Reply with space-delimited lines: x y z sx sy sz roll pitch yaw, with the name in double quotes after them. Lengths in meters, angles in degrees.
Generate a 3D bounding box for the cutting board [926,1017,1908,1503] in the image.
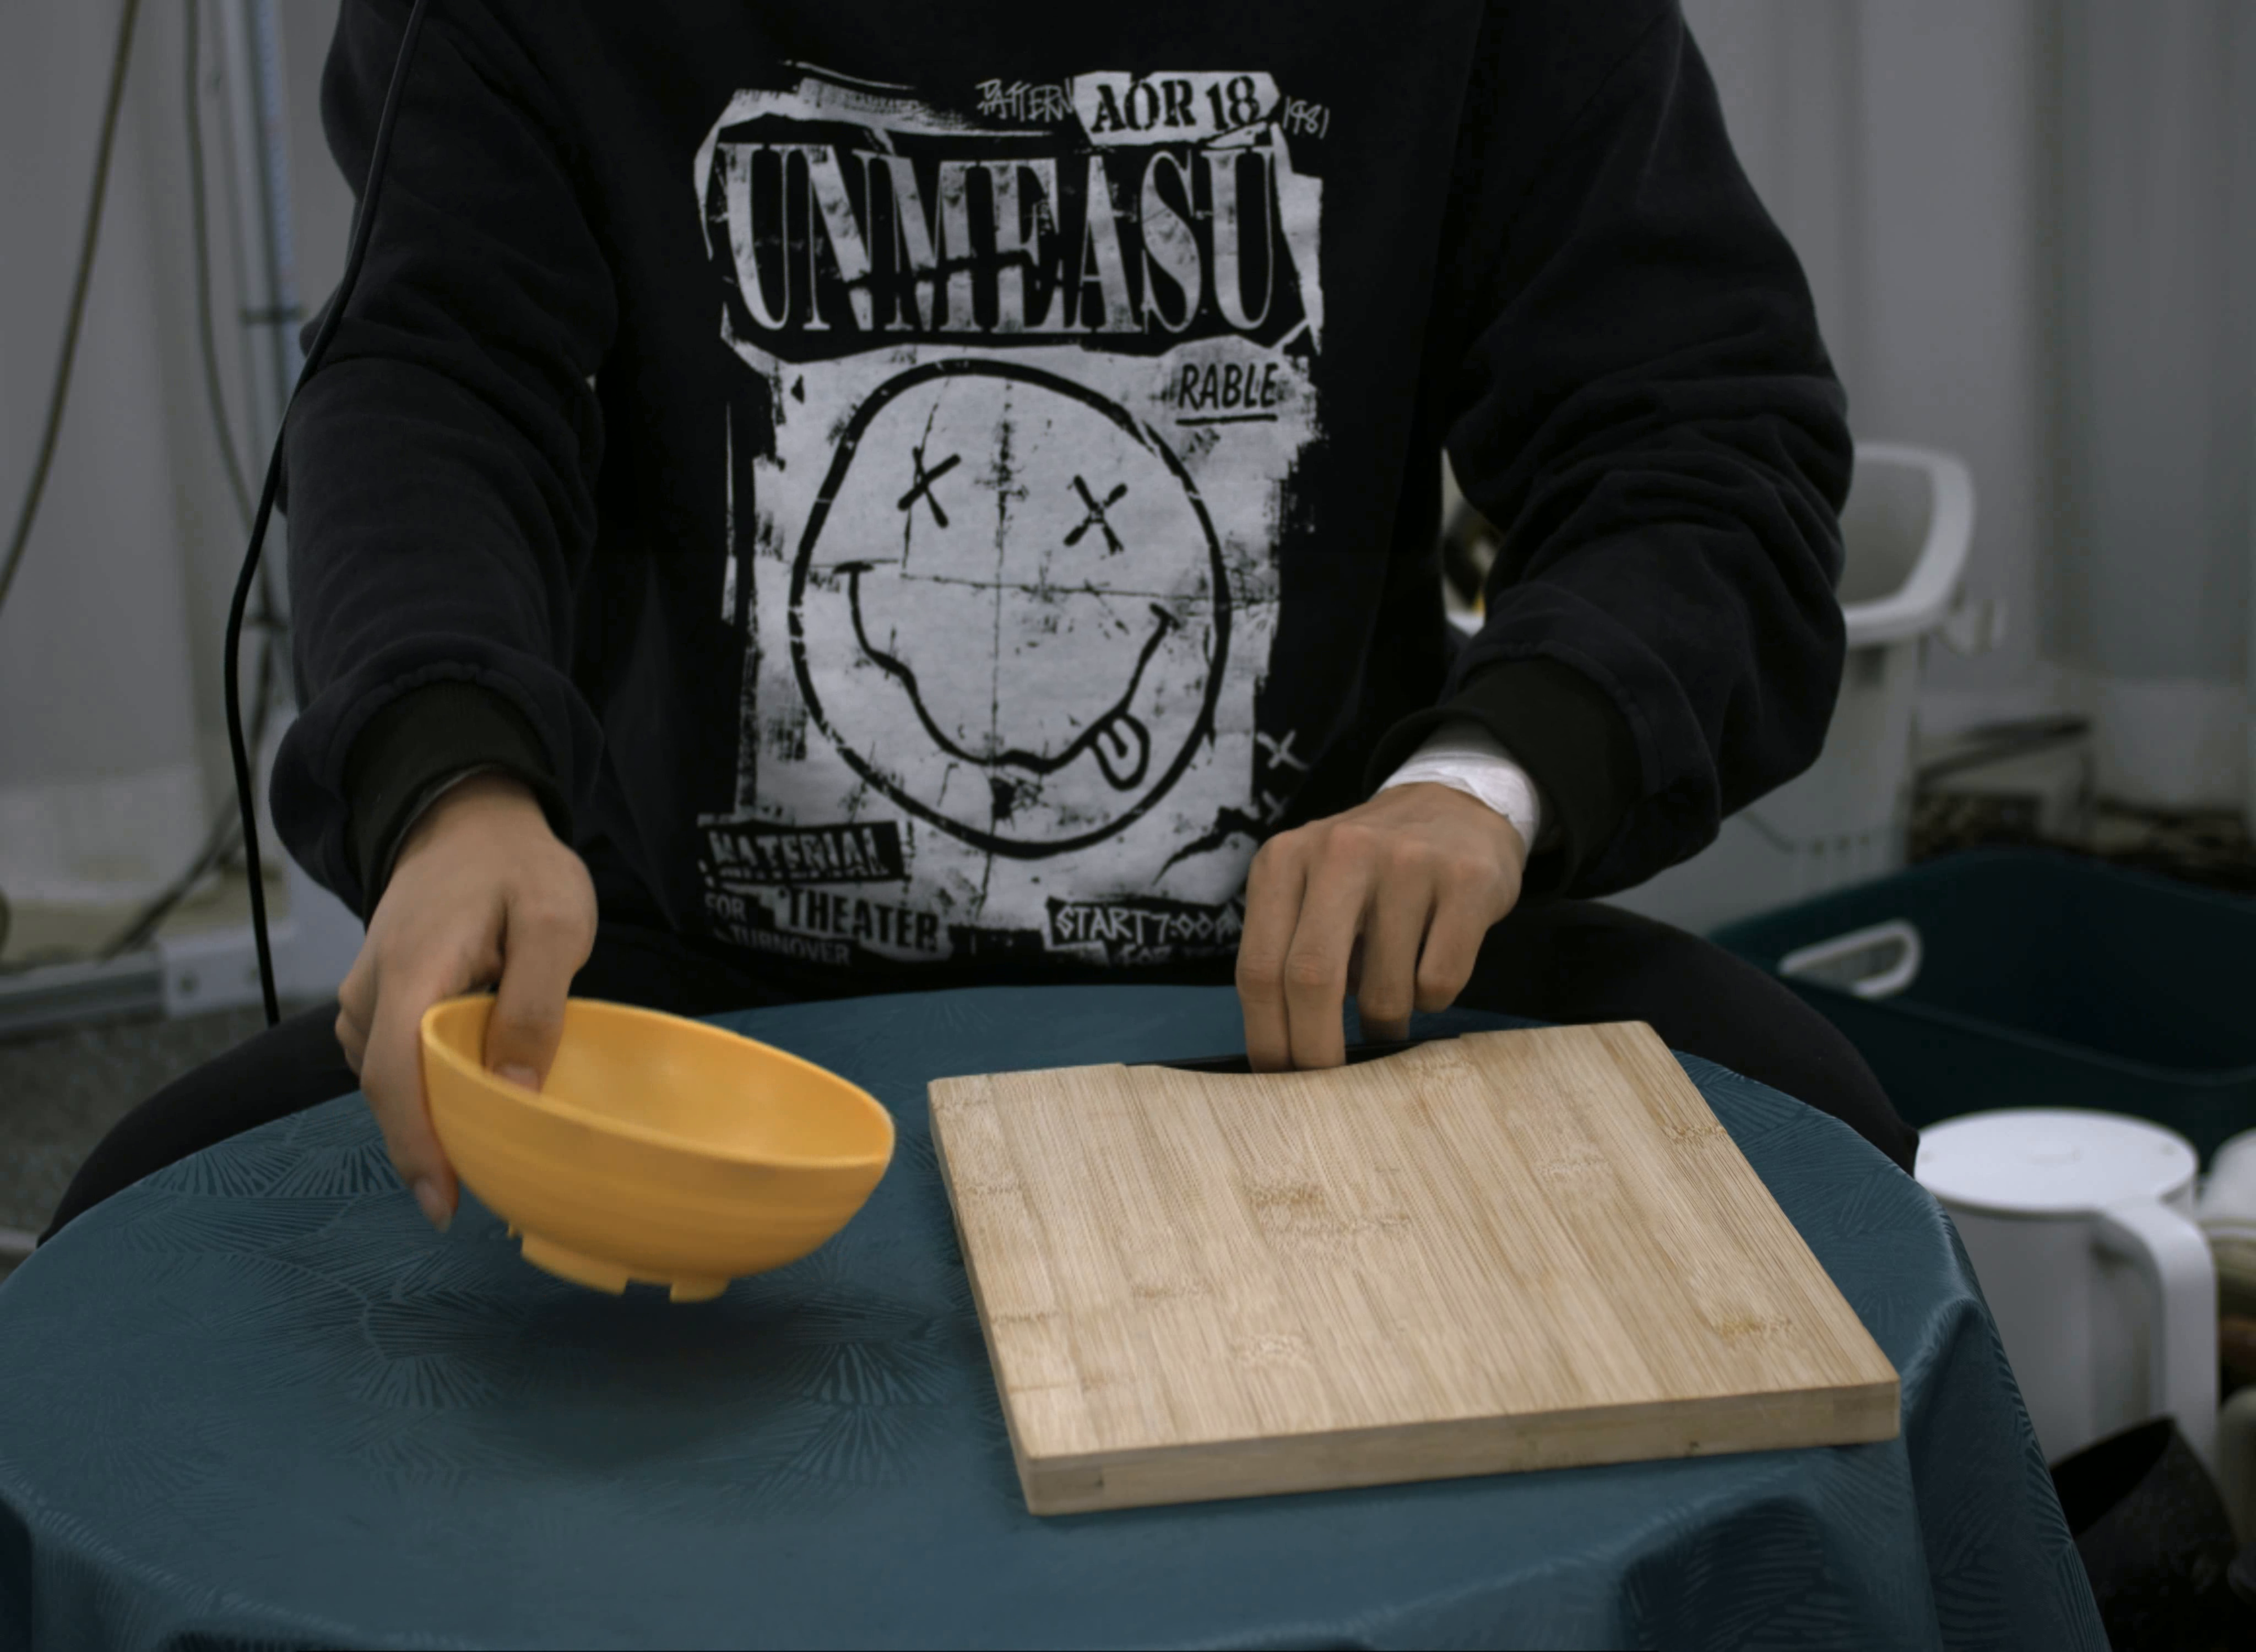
0.073 0.124 1.634 0.250 0.023 0.351 -4 15 -7 "cutting board"

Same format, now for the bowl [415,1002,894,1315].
-0.145 0.104 1.598 0.145 0.060 0.146 15 10 -3 "bowl"
